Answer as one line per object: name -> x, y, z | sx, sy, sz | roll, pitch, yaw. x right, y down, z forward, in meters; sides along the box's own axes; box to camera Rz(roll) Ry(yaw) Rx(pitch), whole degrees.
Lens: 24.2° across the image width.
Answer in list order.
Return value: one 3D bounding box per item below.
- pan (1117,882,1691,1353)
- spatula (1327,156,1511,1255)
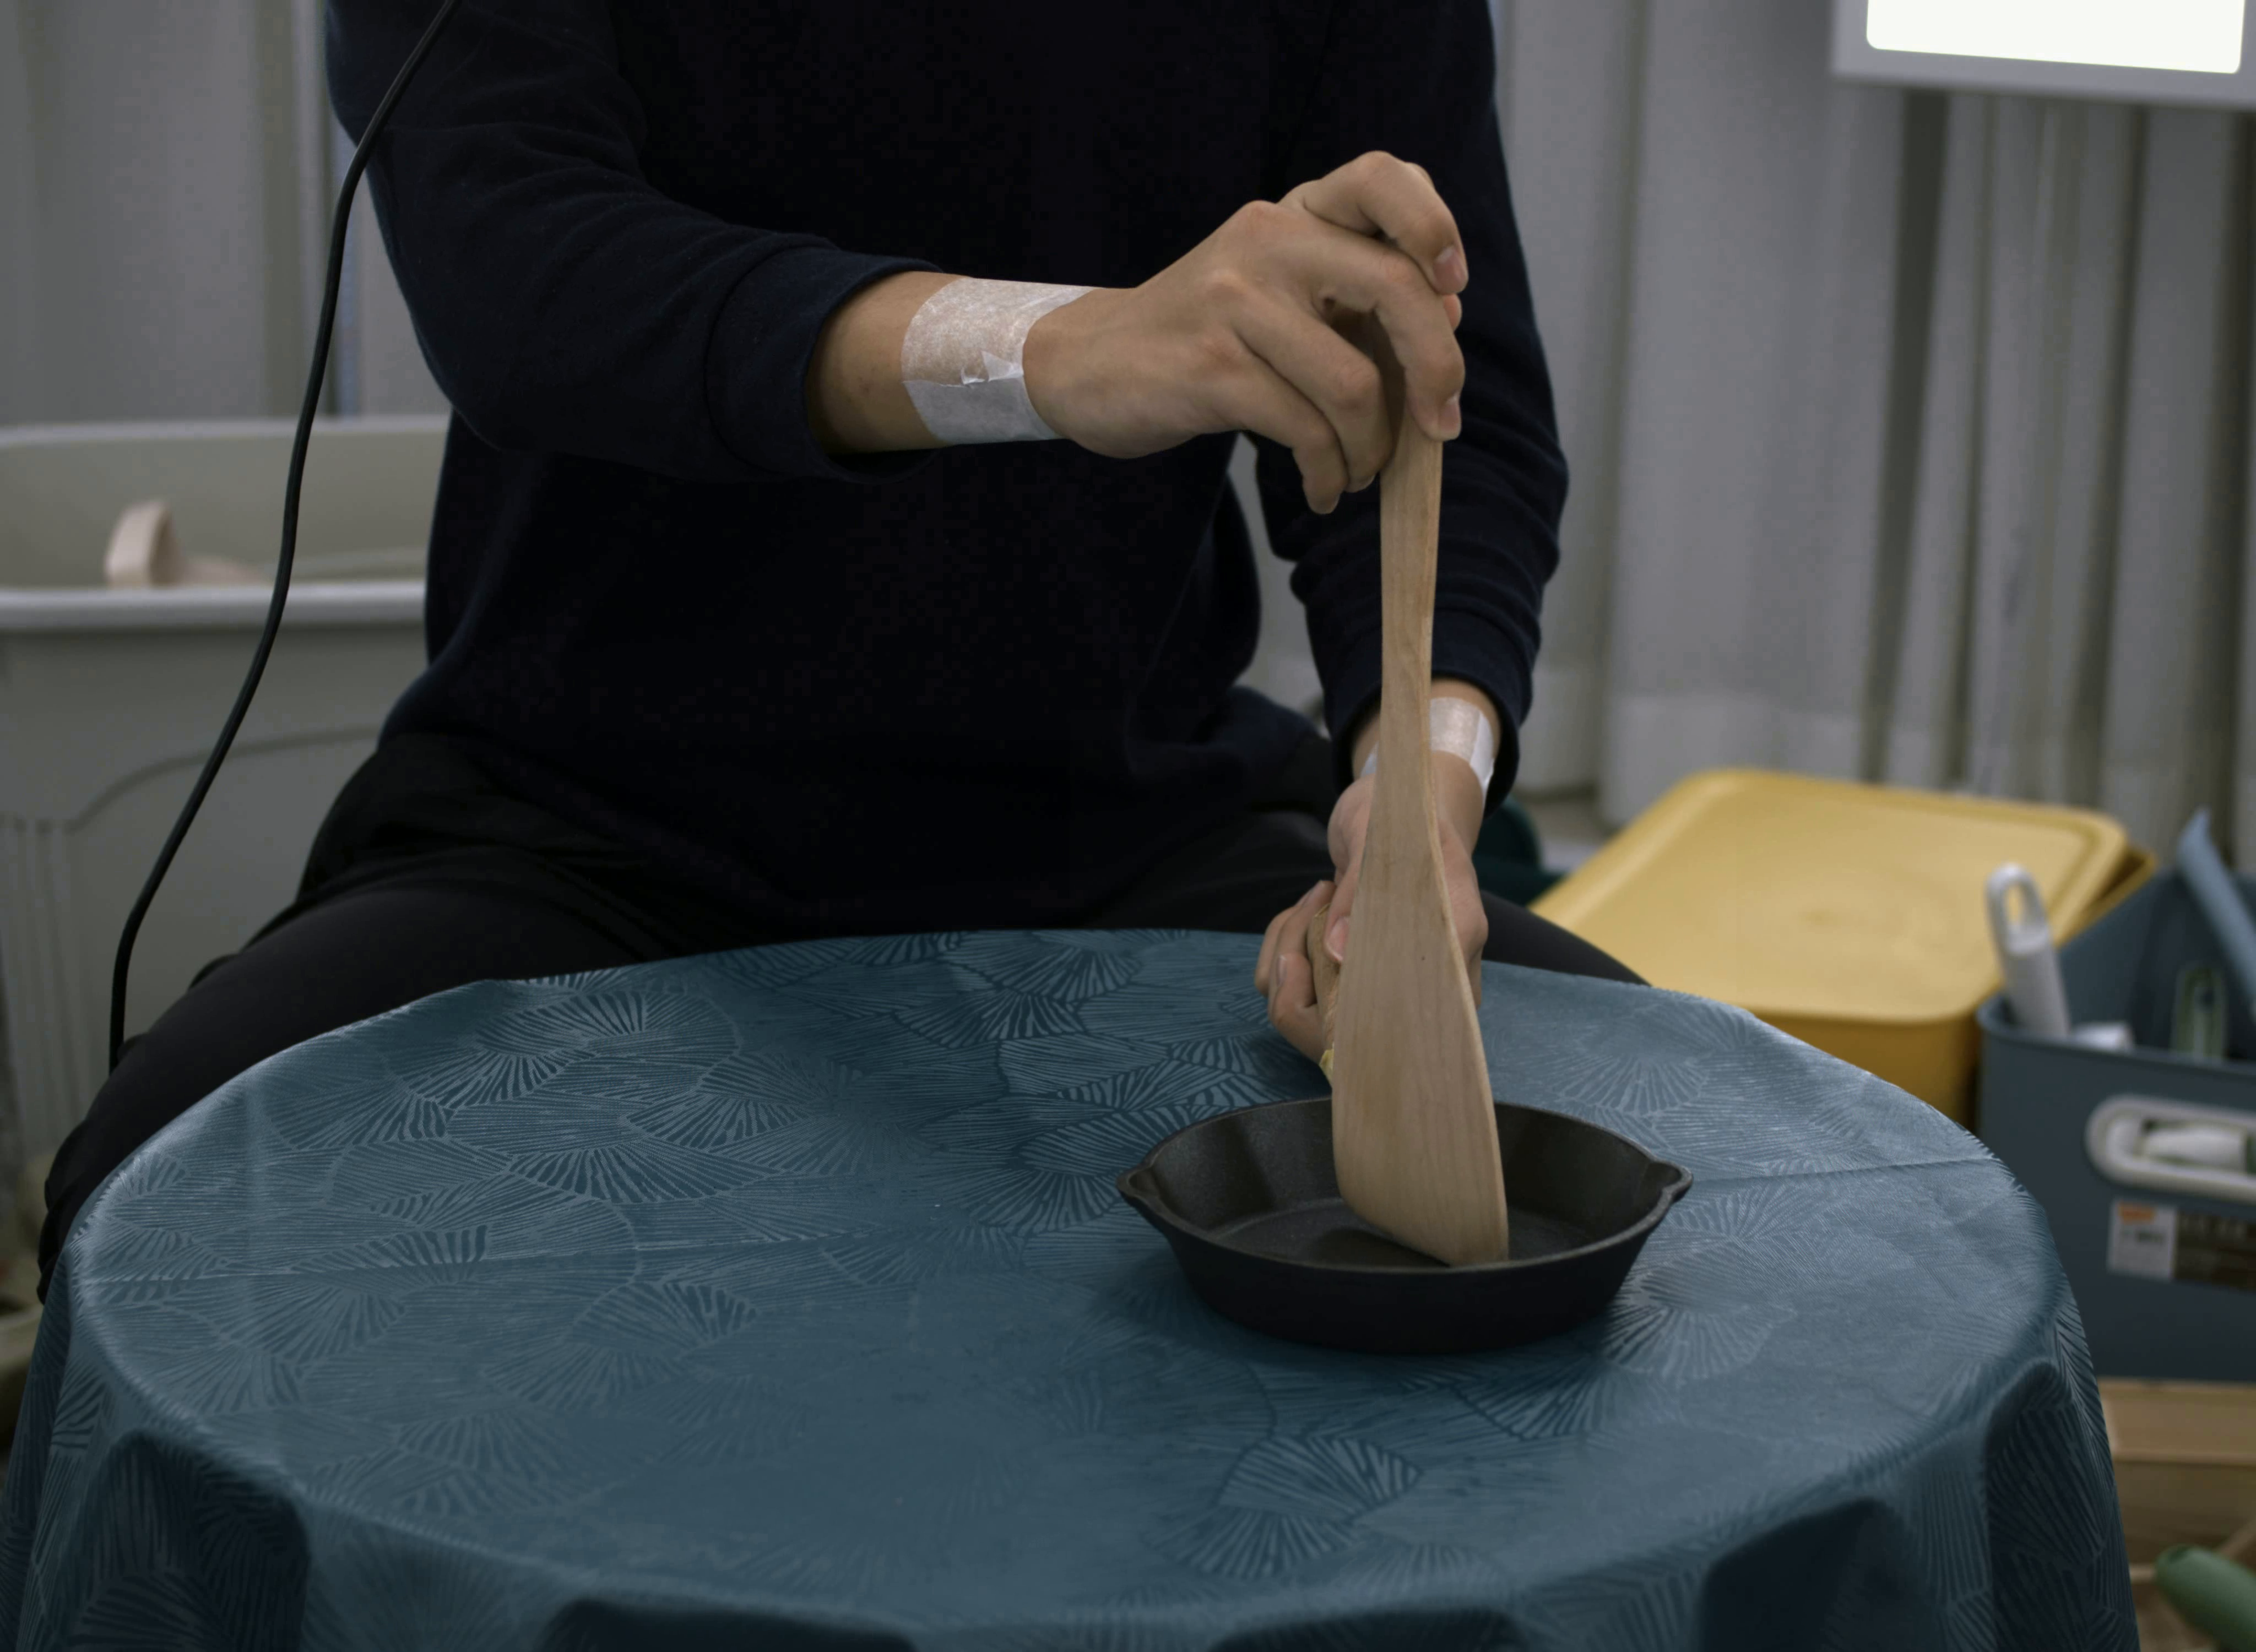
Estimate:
pan -> 0.080, 0.086, 1.623 | 0.168, 0.050, 0.322 | 0, 17, -1
spatula -> 0.084, -0.030, 1.542 | 0.016, 0.329, 0.079 | -4, 7, -37
